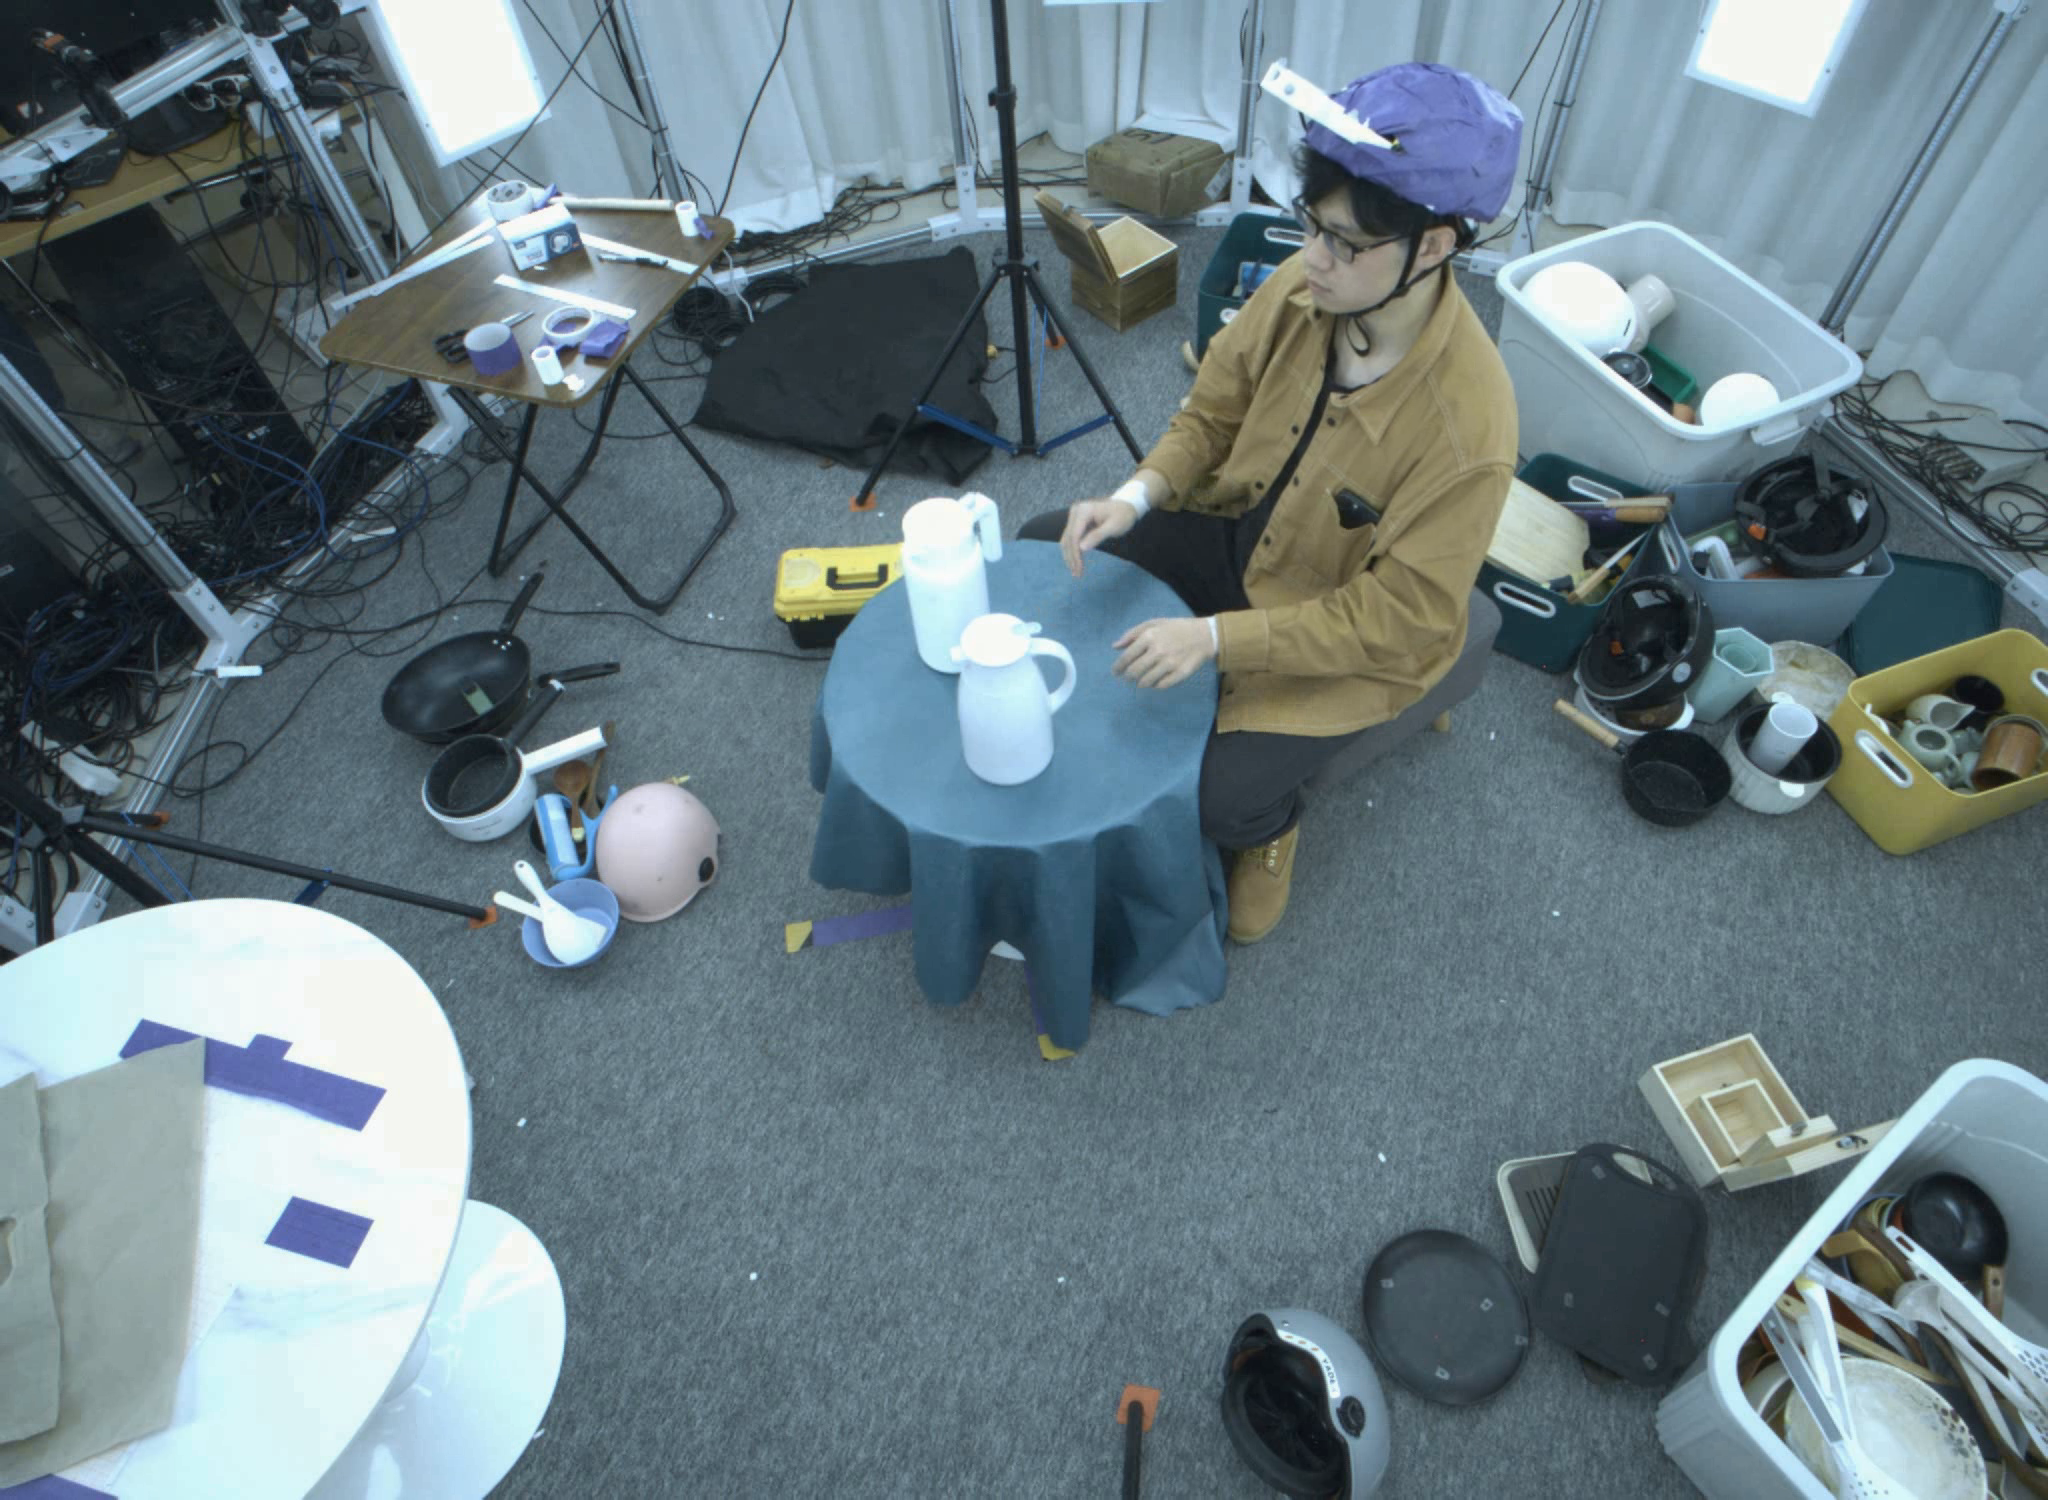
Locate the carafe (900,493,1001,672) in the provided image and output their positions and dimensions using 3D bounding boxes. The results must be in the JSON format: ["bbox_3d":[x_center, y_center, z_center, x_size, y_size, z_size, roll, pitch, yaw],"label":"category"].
[{"bbox_3d":[-0.104,-0.251,1.800,0.121,0.272,0.174,34,63,26],"label":"carafe"}]

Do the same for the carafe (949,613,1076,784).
[{"bbox_3d":[-0.012,-0.080,1.686,0.168,0.251,0.130,-11,54,-5],"label":"carafe"}]
